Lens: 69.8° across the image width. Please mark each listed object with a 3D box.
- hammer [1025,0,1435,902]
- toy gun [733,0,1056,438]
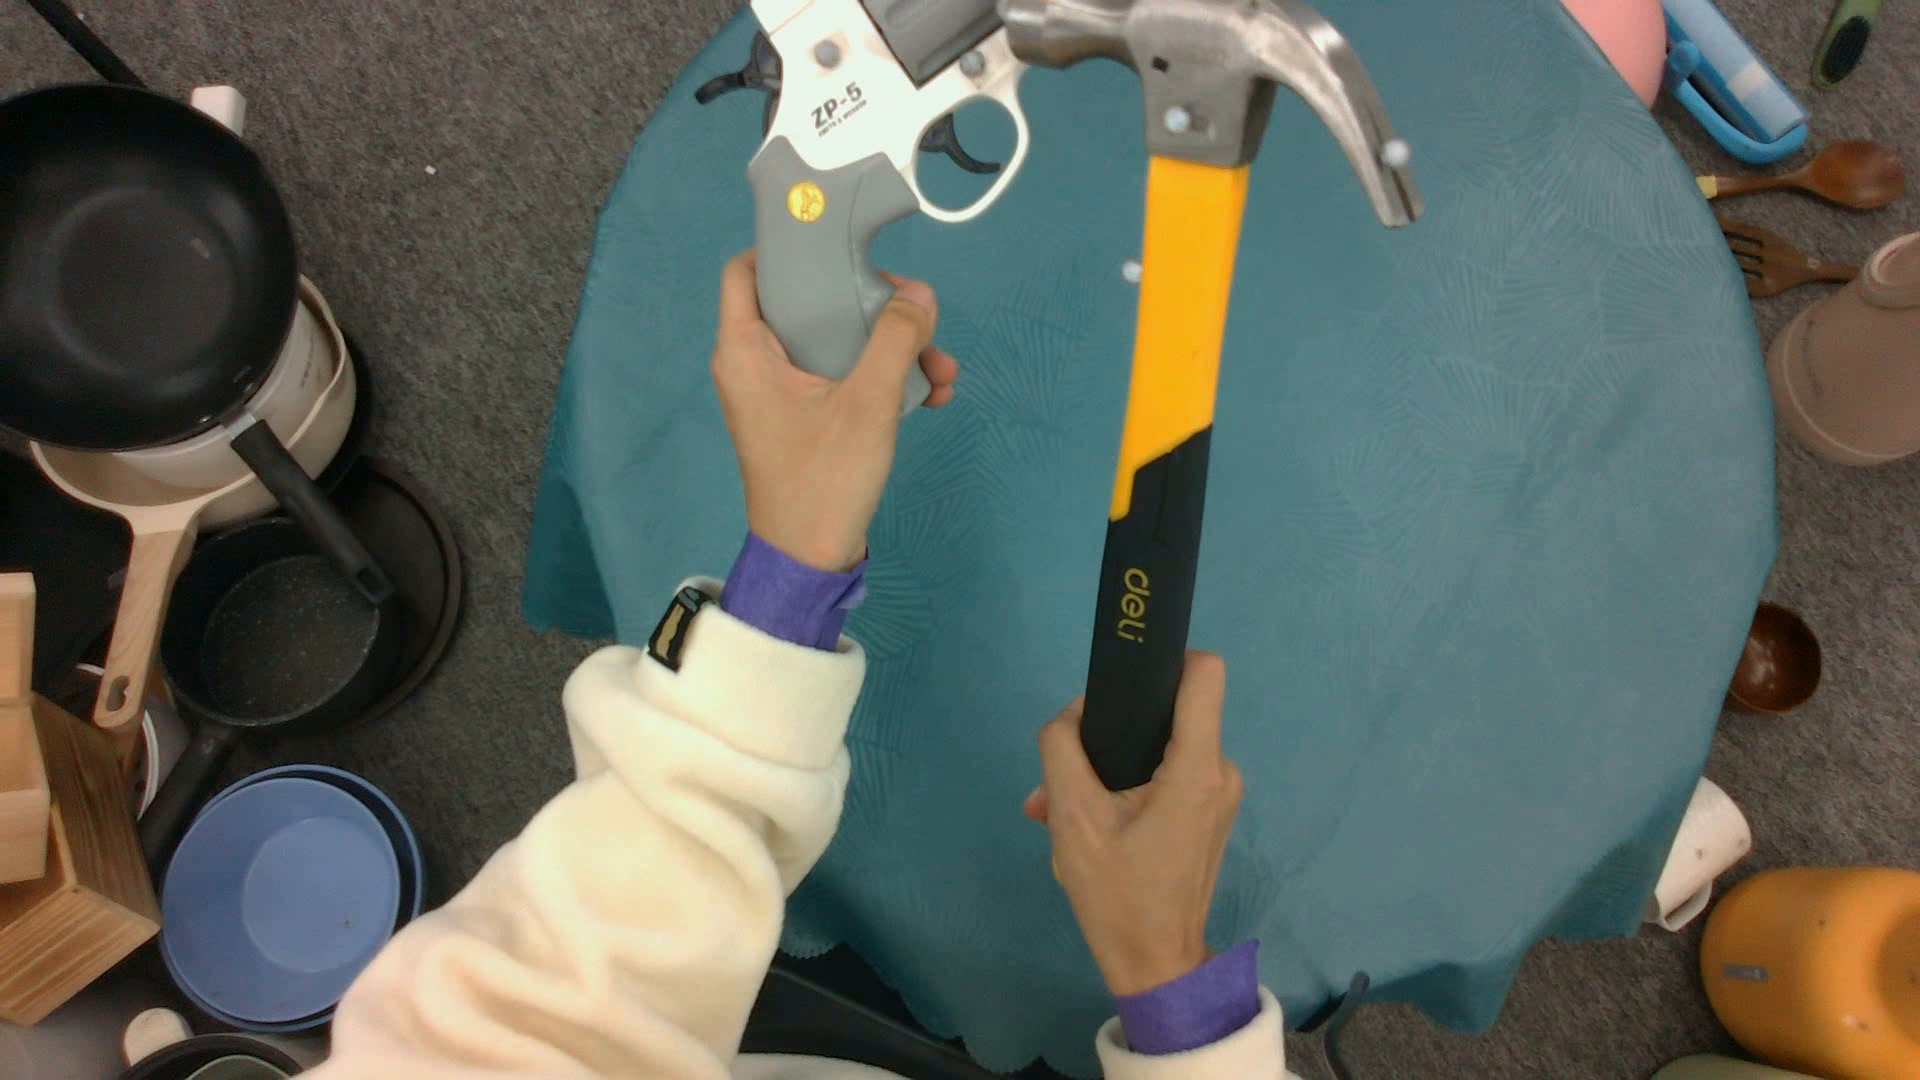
[{"bbox_3d":[0.066,-0.014,0.472,0.131,0.032,0.337,19,118,23],"label":"hammer"},{"bbox_3d":[-0.007,-0.143,0.466,0.208,0.039,0.141,-34,96,12],"label":"toy gun"}]
